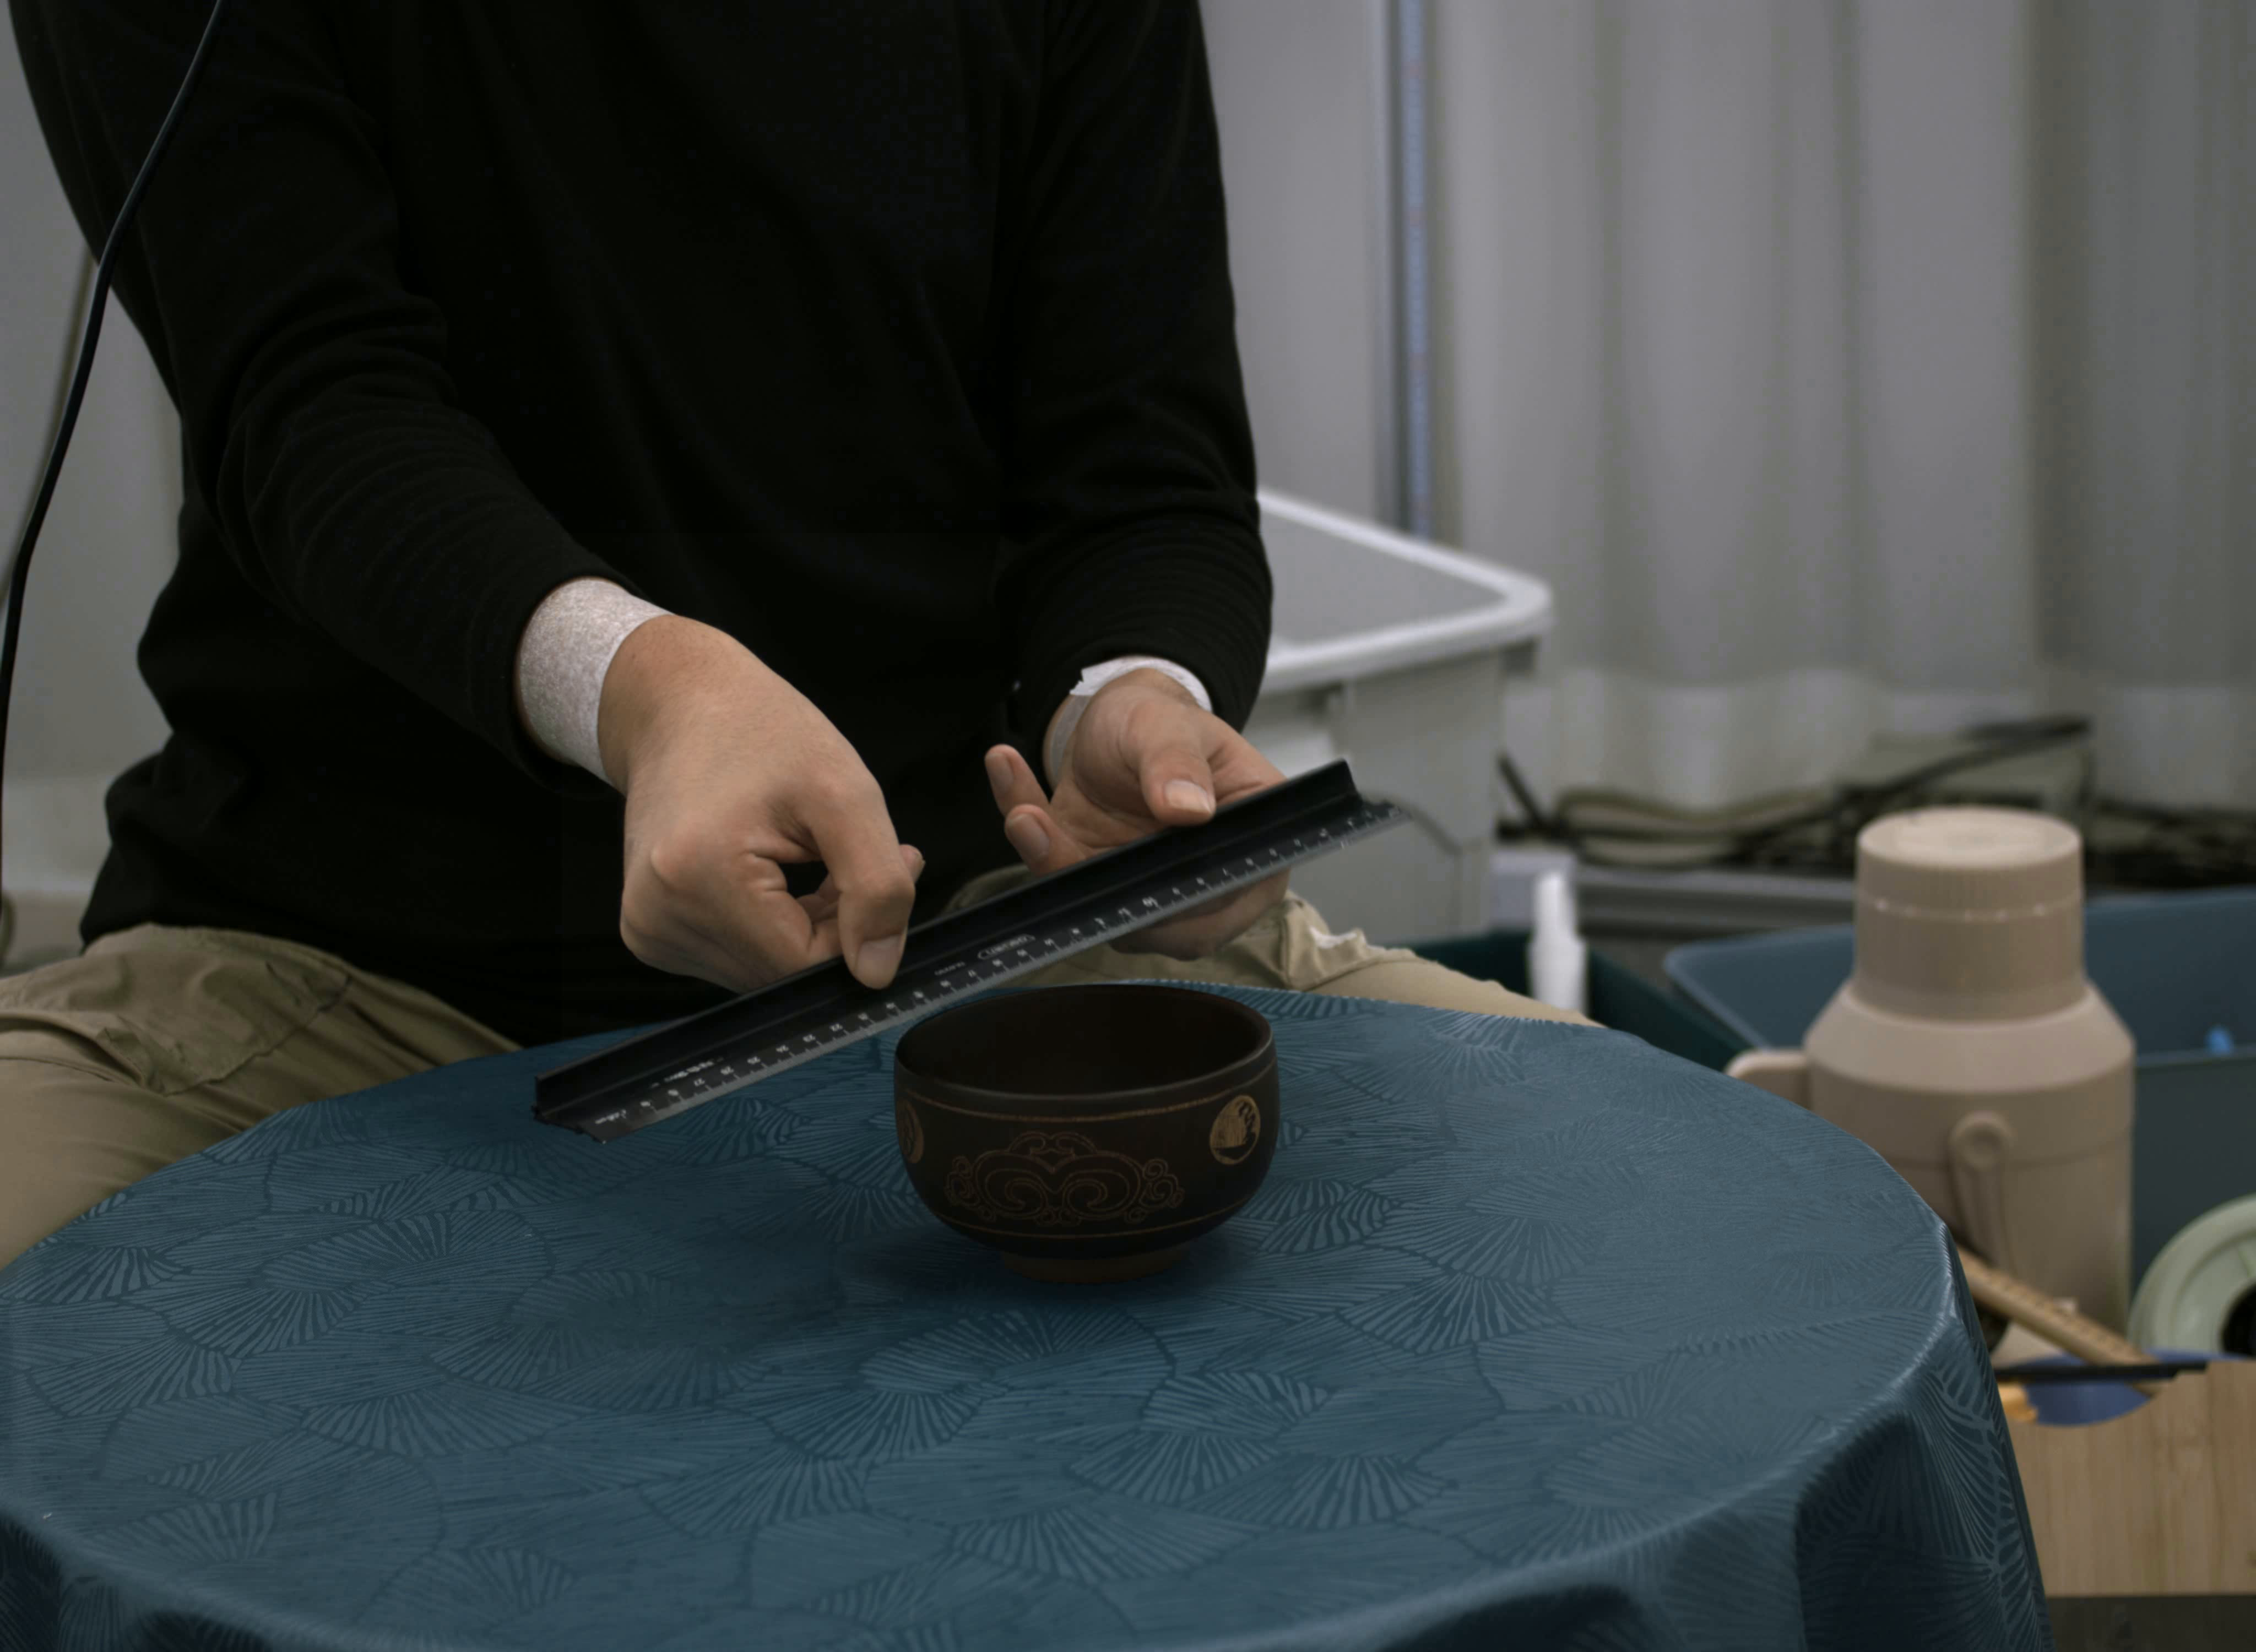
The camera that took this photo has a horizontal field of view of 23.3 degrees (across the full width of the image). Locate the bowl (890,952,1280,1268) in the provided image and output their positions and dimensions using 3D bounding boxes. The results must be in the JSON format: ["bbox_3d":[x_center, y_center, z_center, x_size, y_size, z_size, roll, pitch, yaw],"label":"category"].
[{"bbox_3d":[-0.013,0.090,1.651,0.117,0.069,0.119,0,20,0],"label":"bowl"}]

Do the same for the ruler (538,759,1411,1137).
[{"bbox_3d":[-0.042,0.034,1.655,0.312,0.017,0.039,-21,22,-34],"label":"ruler"}]
